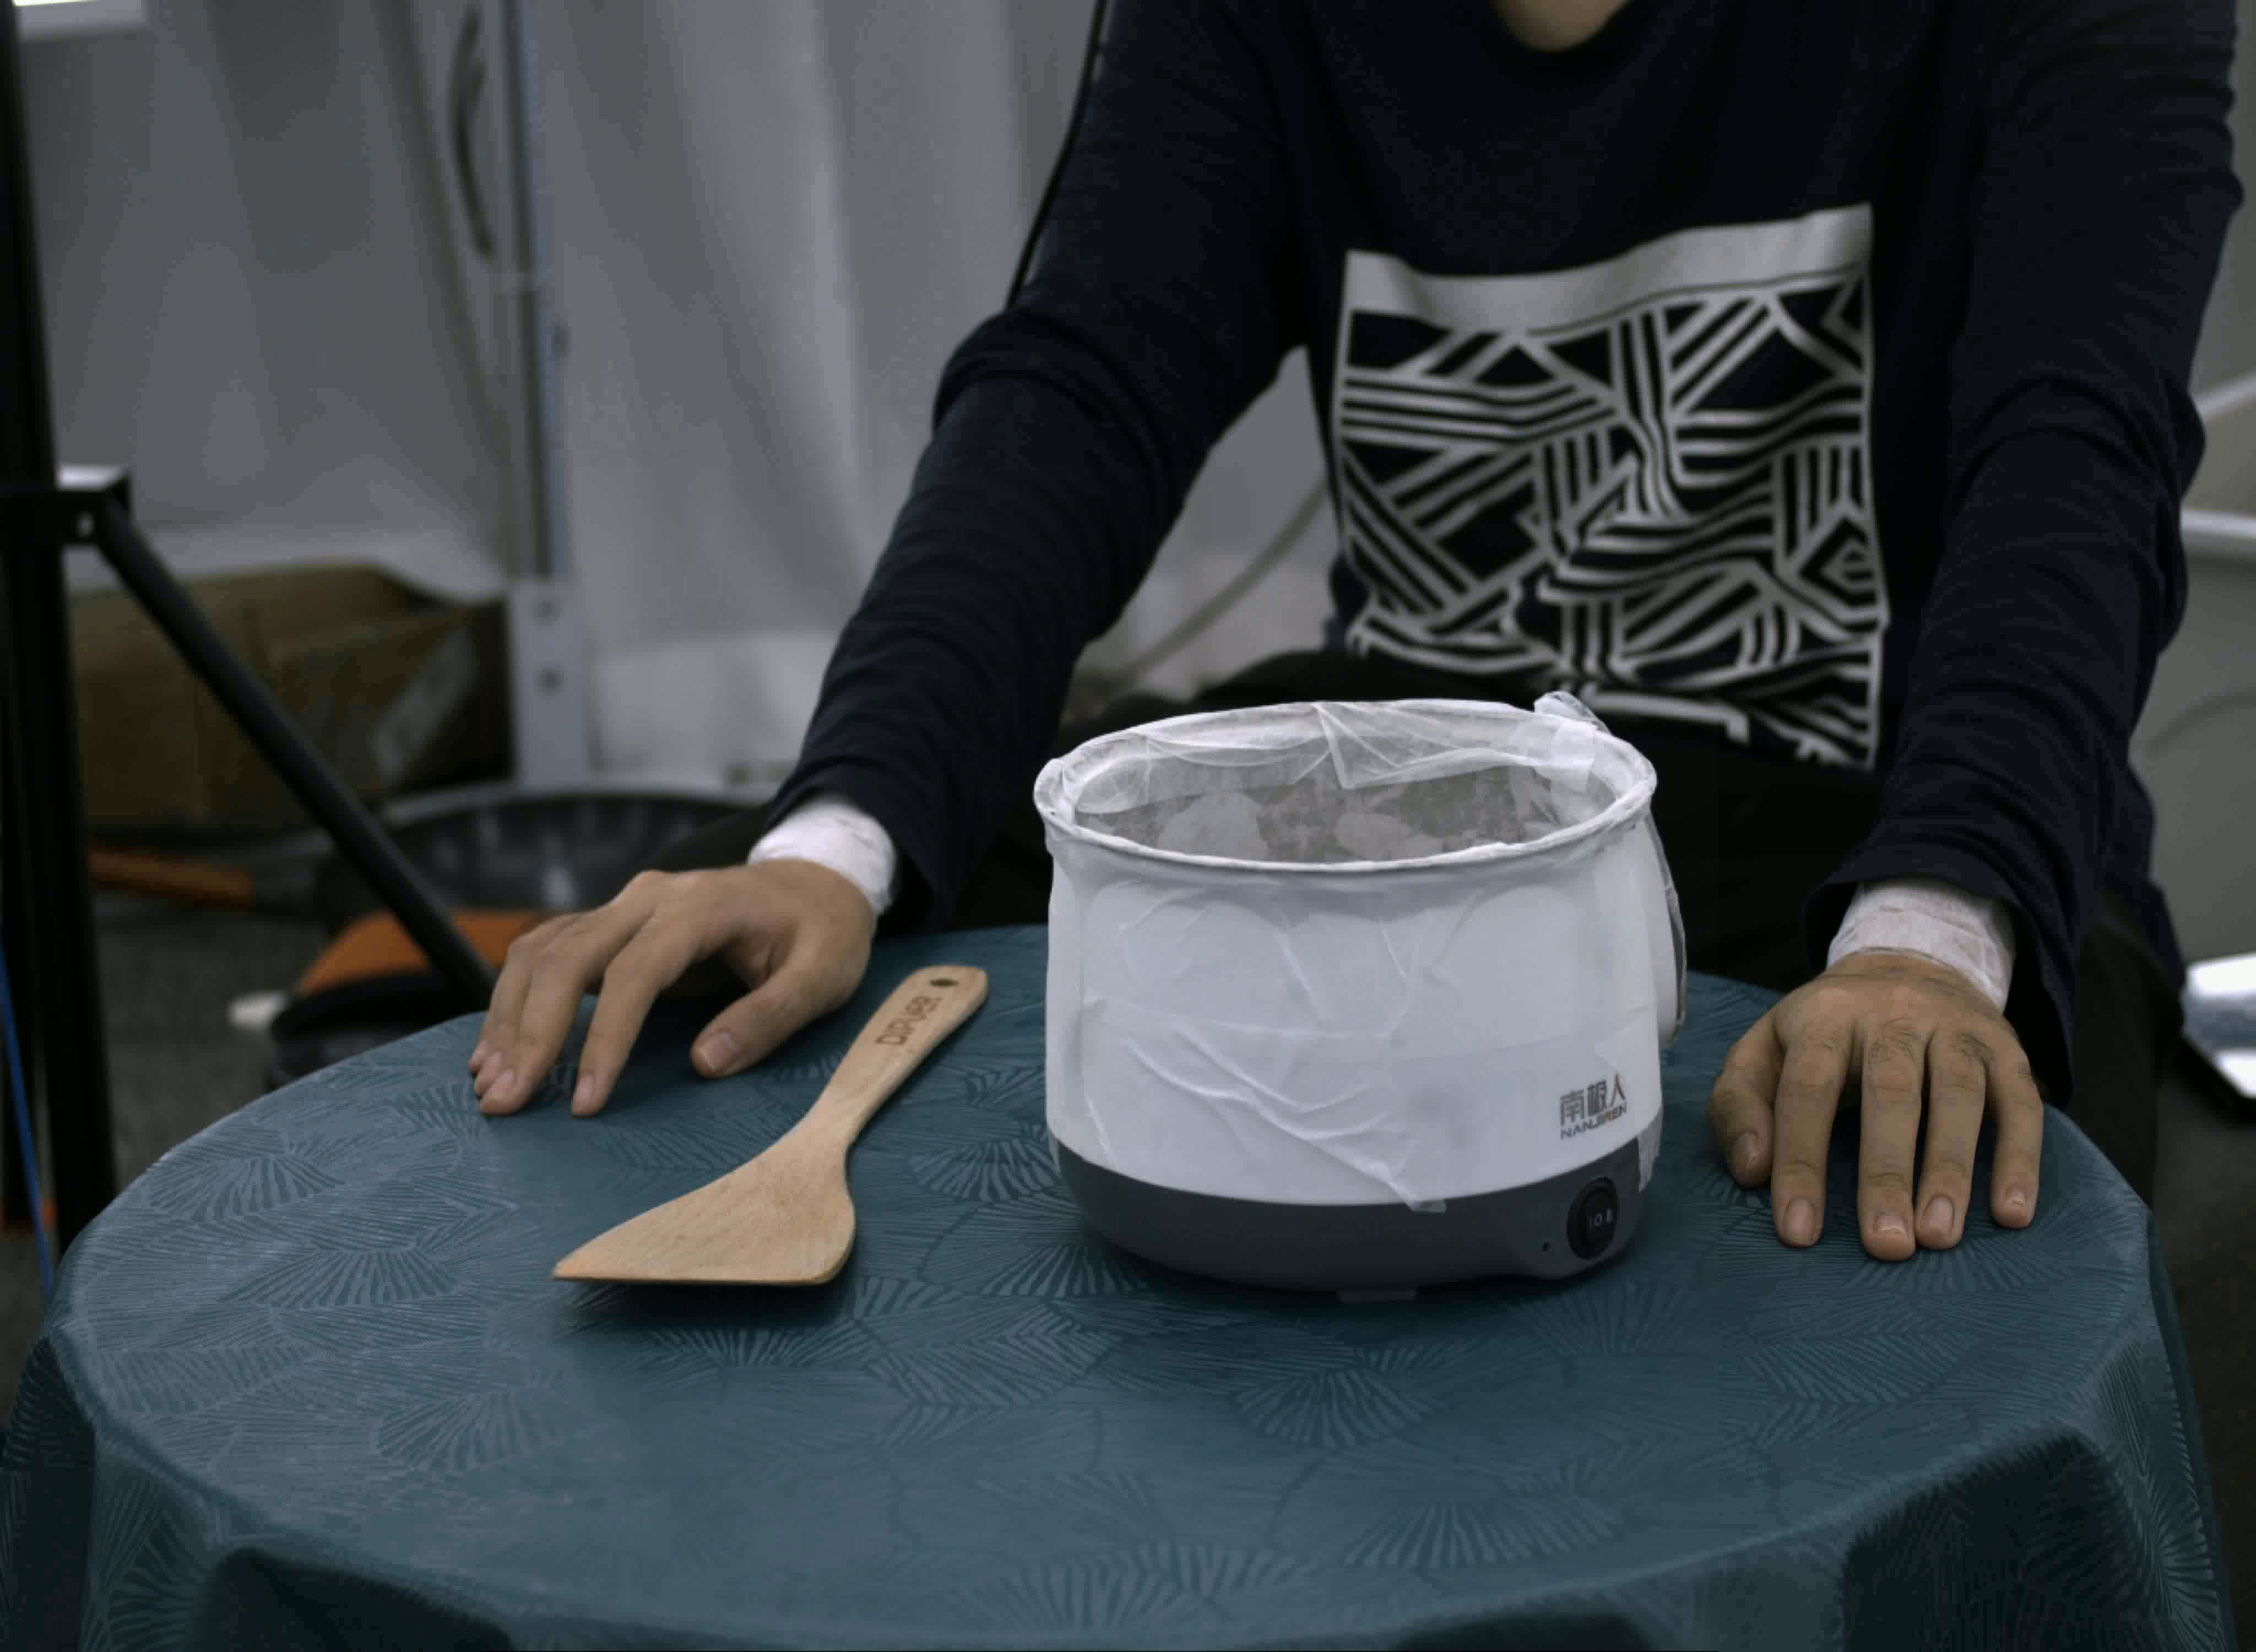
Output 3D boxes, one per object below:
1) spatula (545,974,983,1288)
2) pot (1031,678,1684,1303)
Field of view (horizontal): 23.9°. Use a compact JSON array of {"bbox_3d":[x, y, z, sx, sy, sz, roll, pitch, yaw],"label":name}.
[{"bbox_3d":[-0.091,0.090,1.612,0.080,0.016,0.325,2,16,12],"label":"spatula"},{"bbox_3d":[0.081,0.040,1.533,0.182,0.136,0.228,12,22,40],"label":"pot"}]
